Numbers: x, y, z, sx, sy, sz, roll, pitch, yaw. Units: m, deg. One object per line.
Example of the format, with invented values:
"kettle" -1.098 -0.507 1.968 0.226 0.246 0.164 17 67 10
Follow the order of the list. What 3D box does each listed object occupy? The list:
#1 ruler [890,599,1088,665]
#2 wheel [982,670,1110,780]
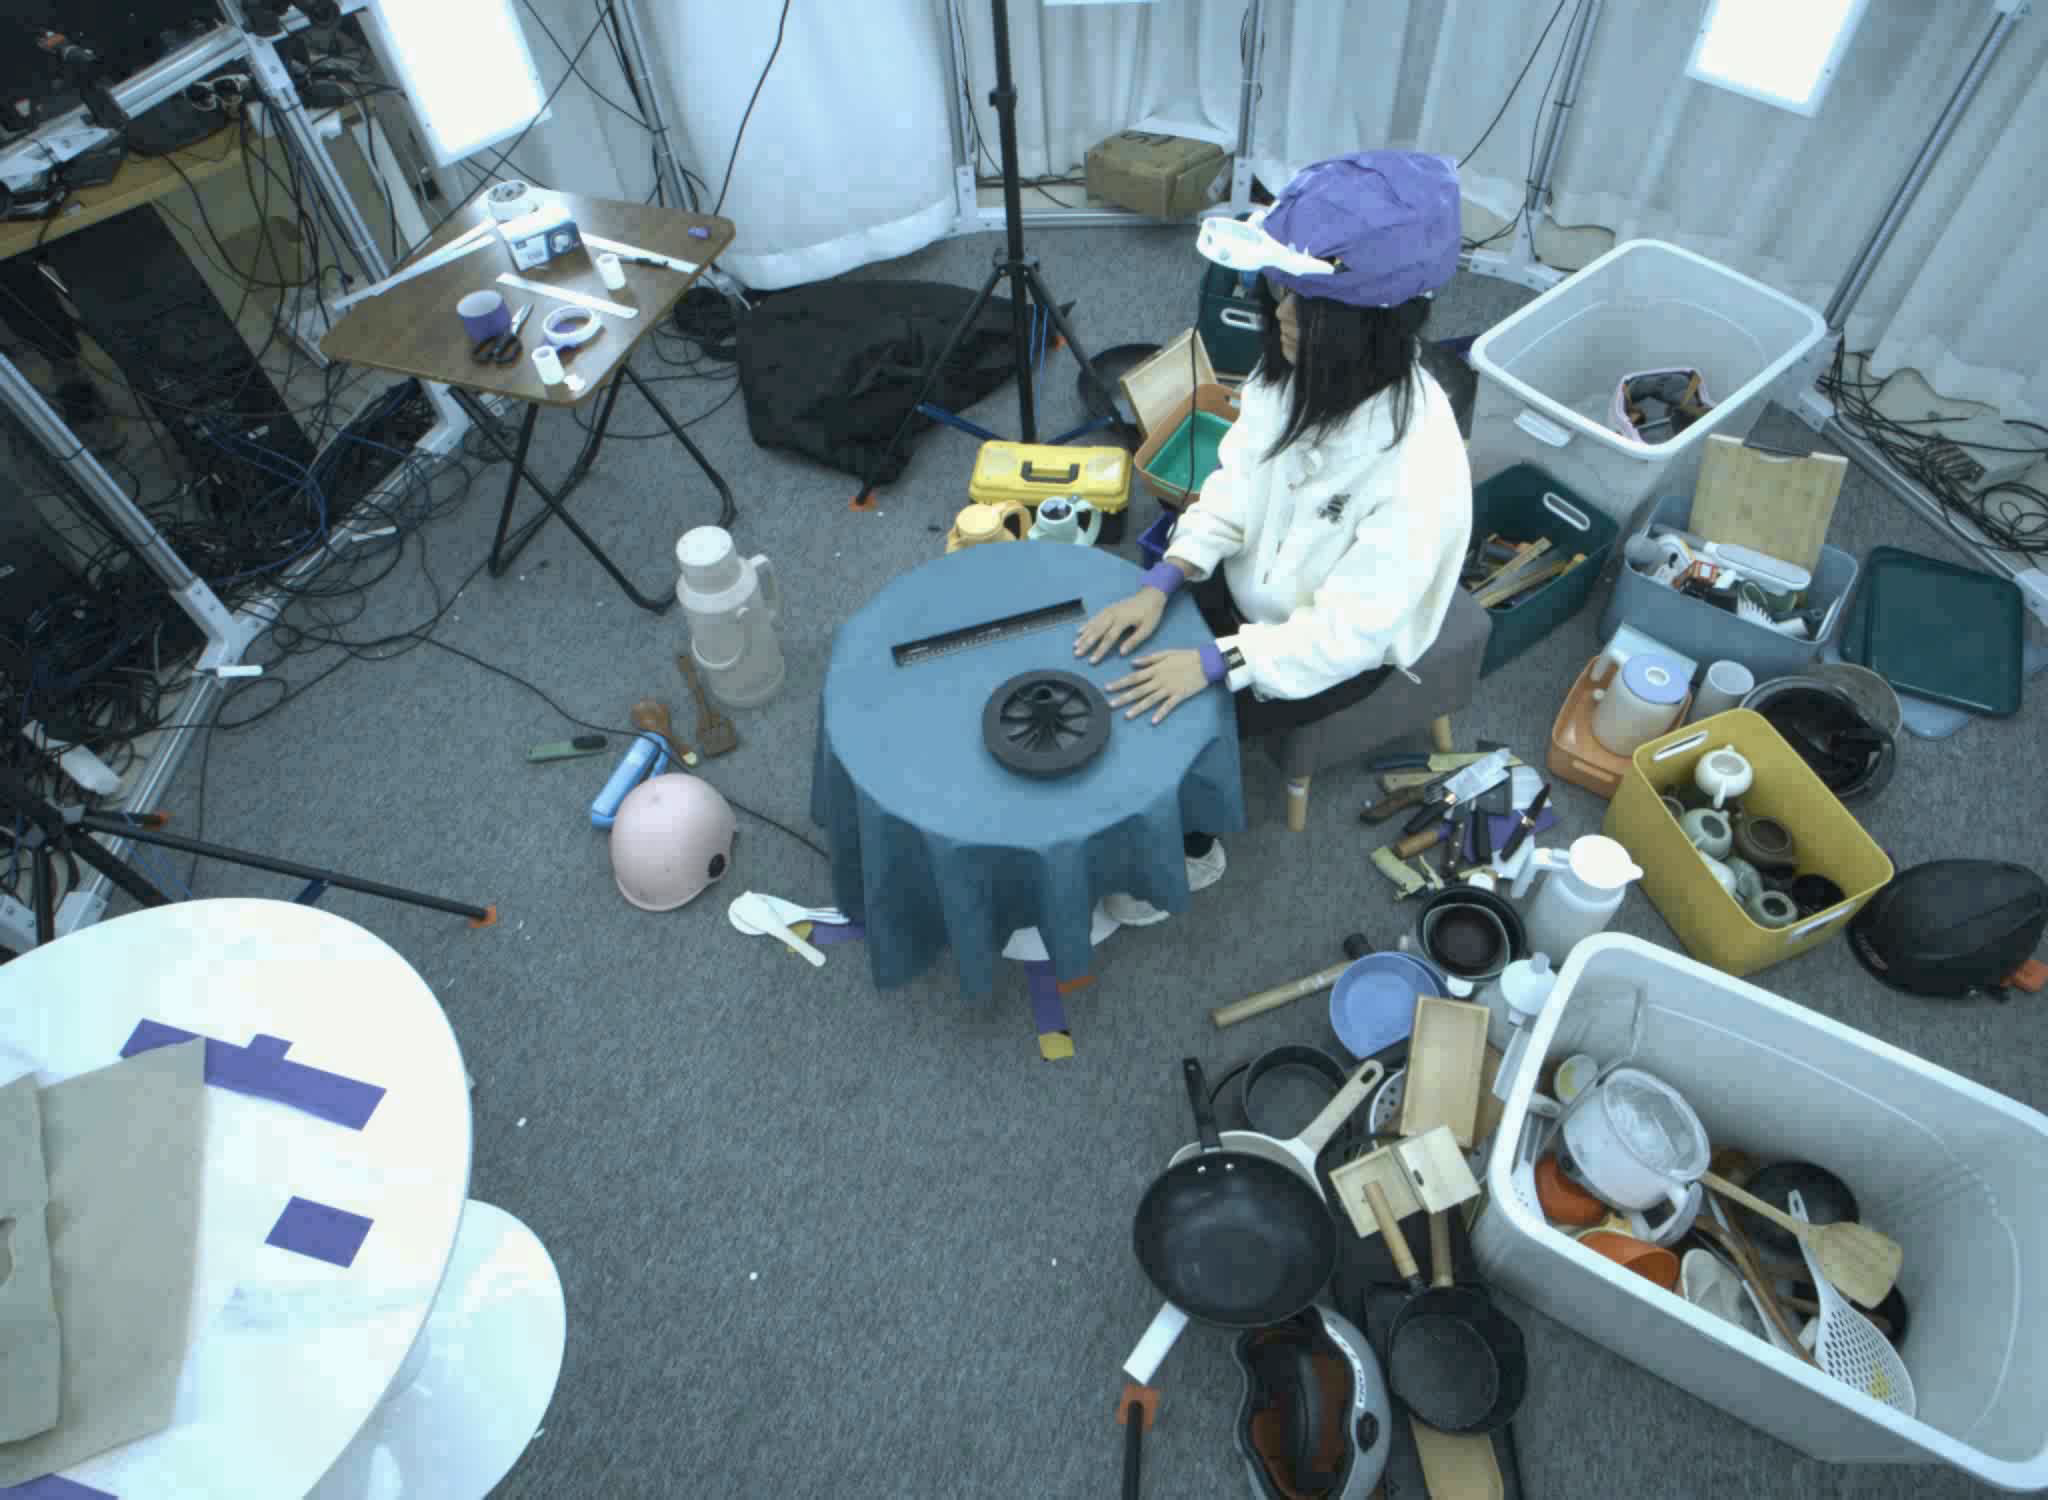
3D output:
"ruler" -0.054 -0.186 1.911 0.314 0.017 0.038 -14 59 -9
"wheel" 0.031 -0.052 1.777 0.186 0.080 0.189 12 56 10
